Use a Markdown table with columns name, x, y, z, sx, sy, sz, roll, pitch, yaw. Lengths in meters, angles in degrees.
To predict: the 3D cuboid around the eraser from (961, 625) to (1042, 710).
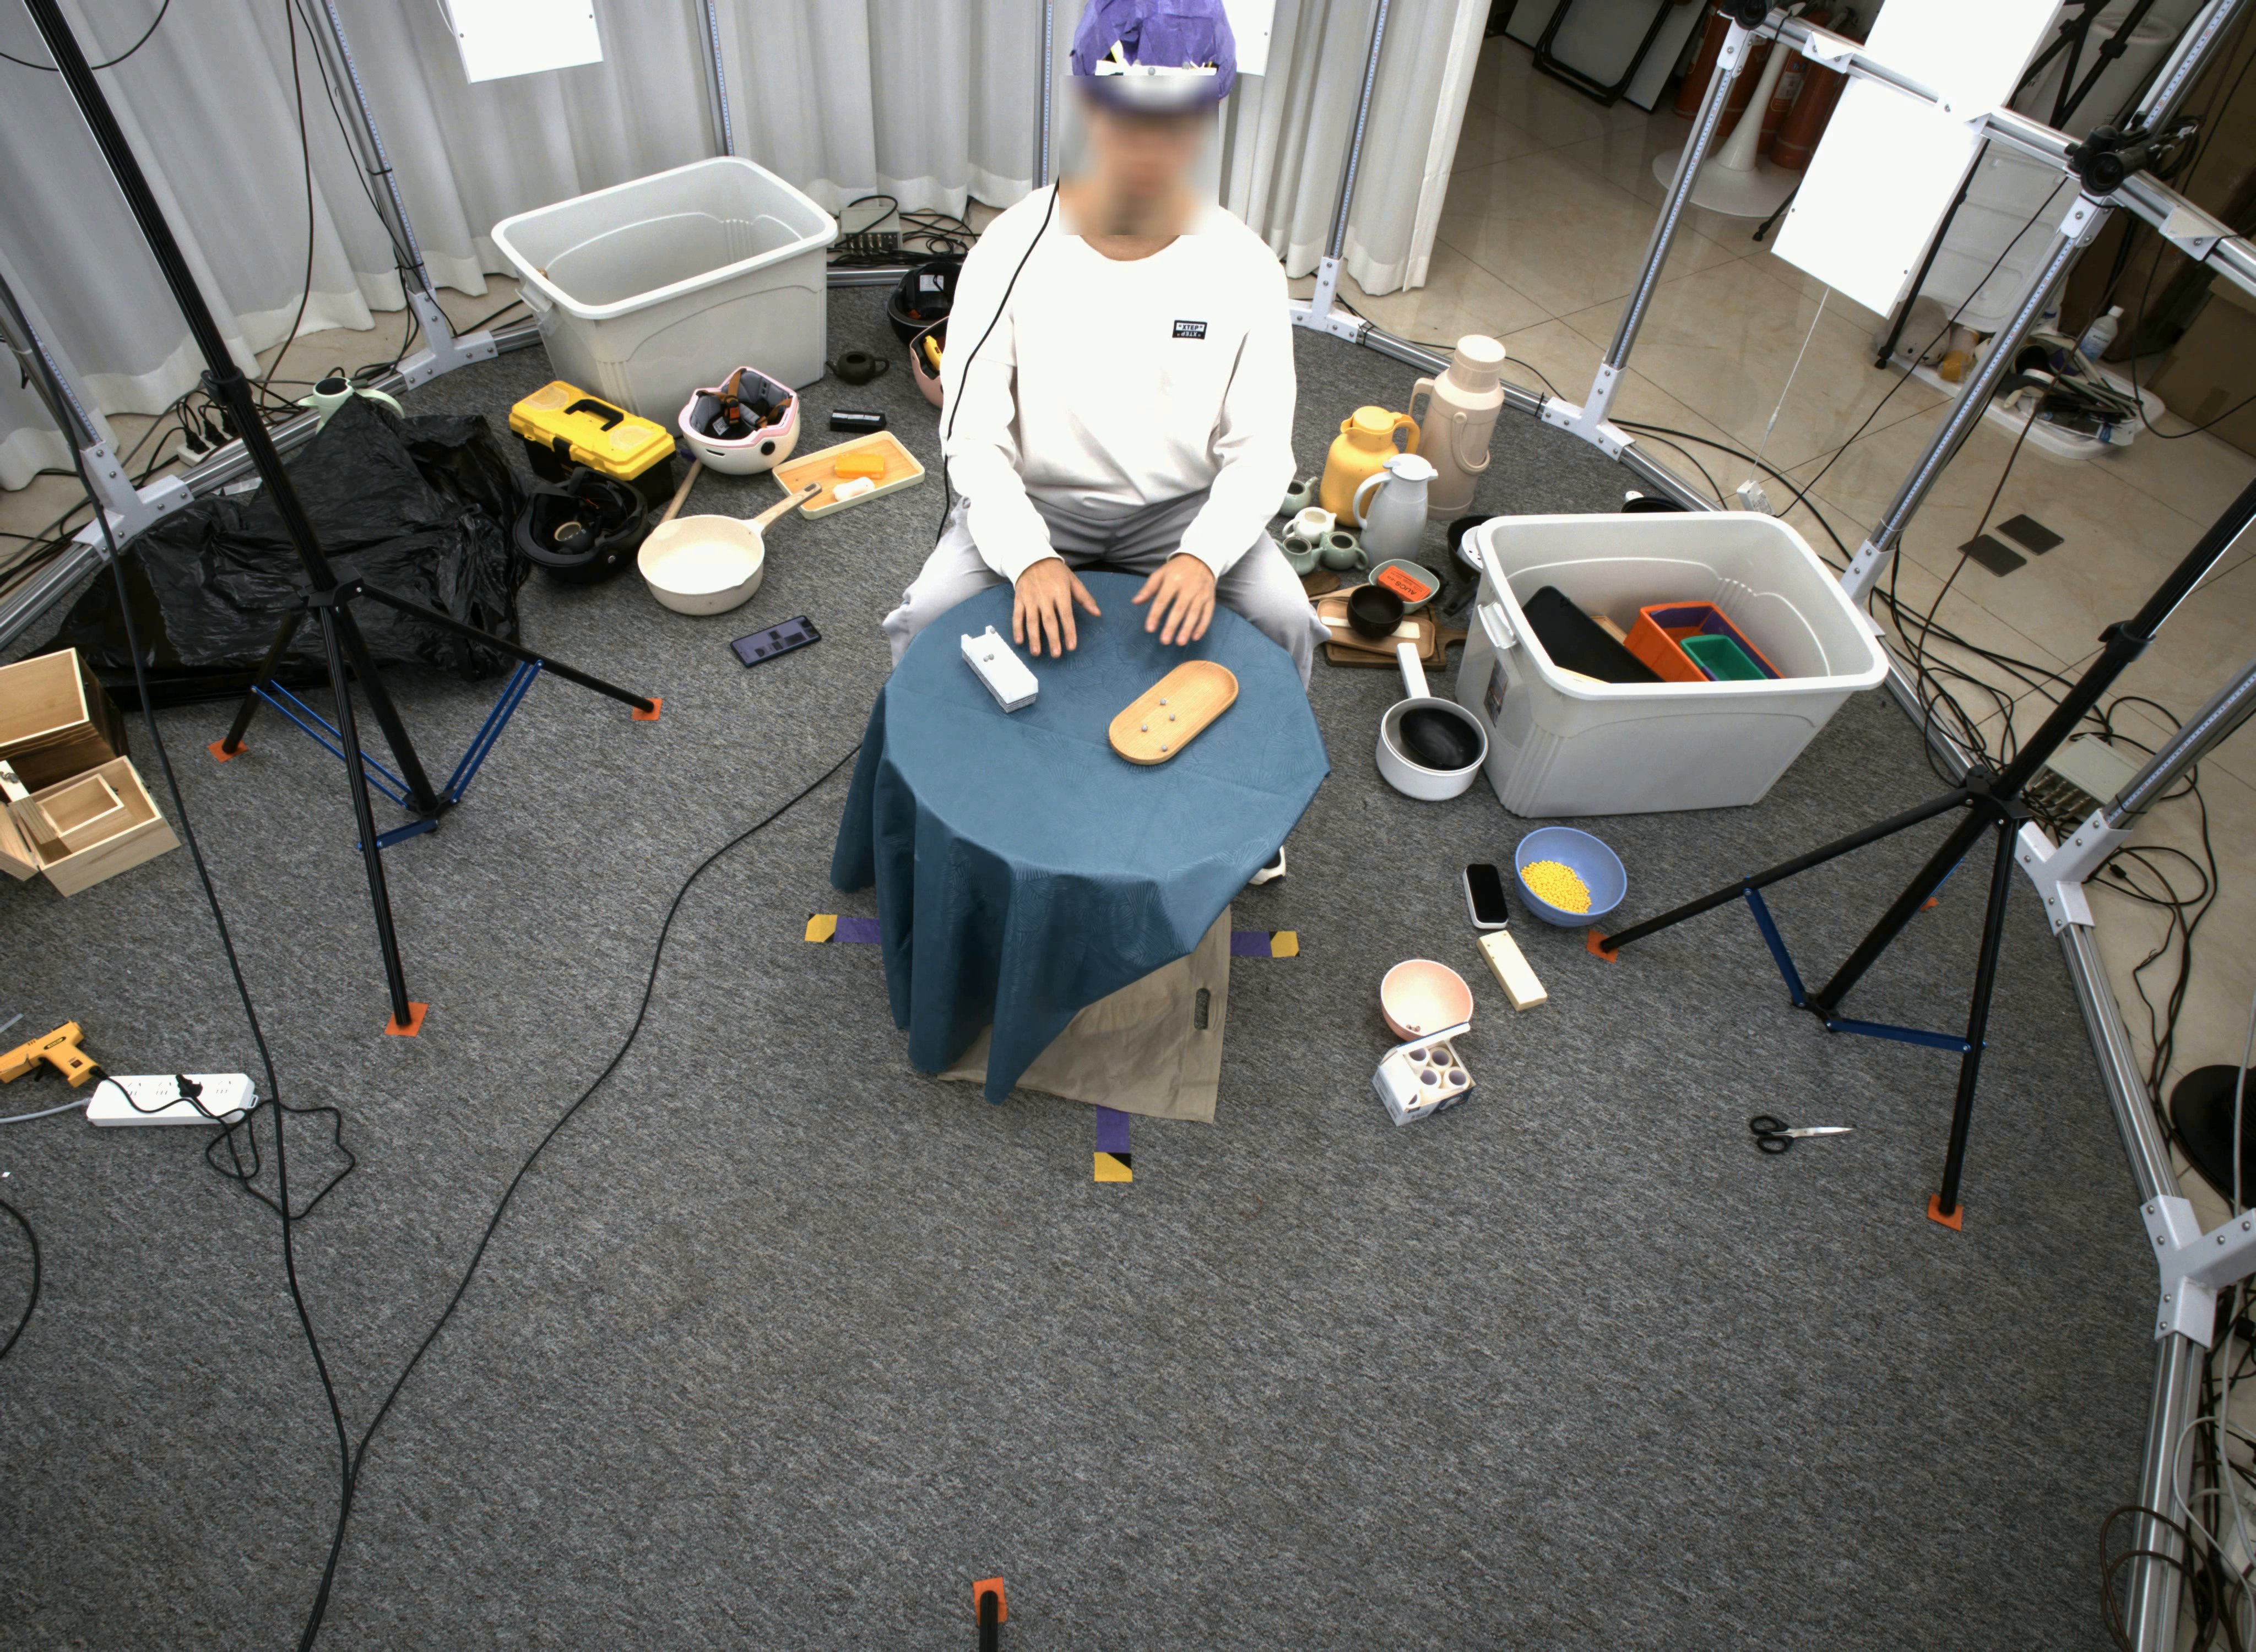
| name | x | y | z | sx | sy | sz | roll | pitch | yaw |
| --- | --- | --- | --- | --- | --- | --- | --- | --- | --- |
| eraser | -0.179 | -0.224 | 1.815 | 0.050 | 0.045 | 0.137 | -24 | 54 | -29 |

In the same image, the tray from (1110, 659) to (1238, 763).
| name | x | y | z | sx | sy | sz | roll | pitch | yaw |
| --- | --- | --- | --- | --- | --- | --- | --- | --- | --- |
| tray | 0.066 | -0.163 | 1.800 | 0.103 | 0.020 | 0.234 | 33 | 53 | 22 |
